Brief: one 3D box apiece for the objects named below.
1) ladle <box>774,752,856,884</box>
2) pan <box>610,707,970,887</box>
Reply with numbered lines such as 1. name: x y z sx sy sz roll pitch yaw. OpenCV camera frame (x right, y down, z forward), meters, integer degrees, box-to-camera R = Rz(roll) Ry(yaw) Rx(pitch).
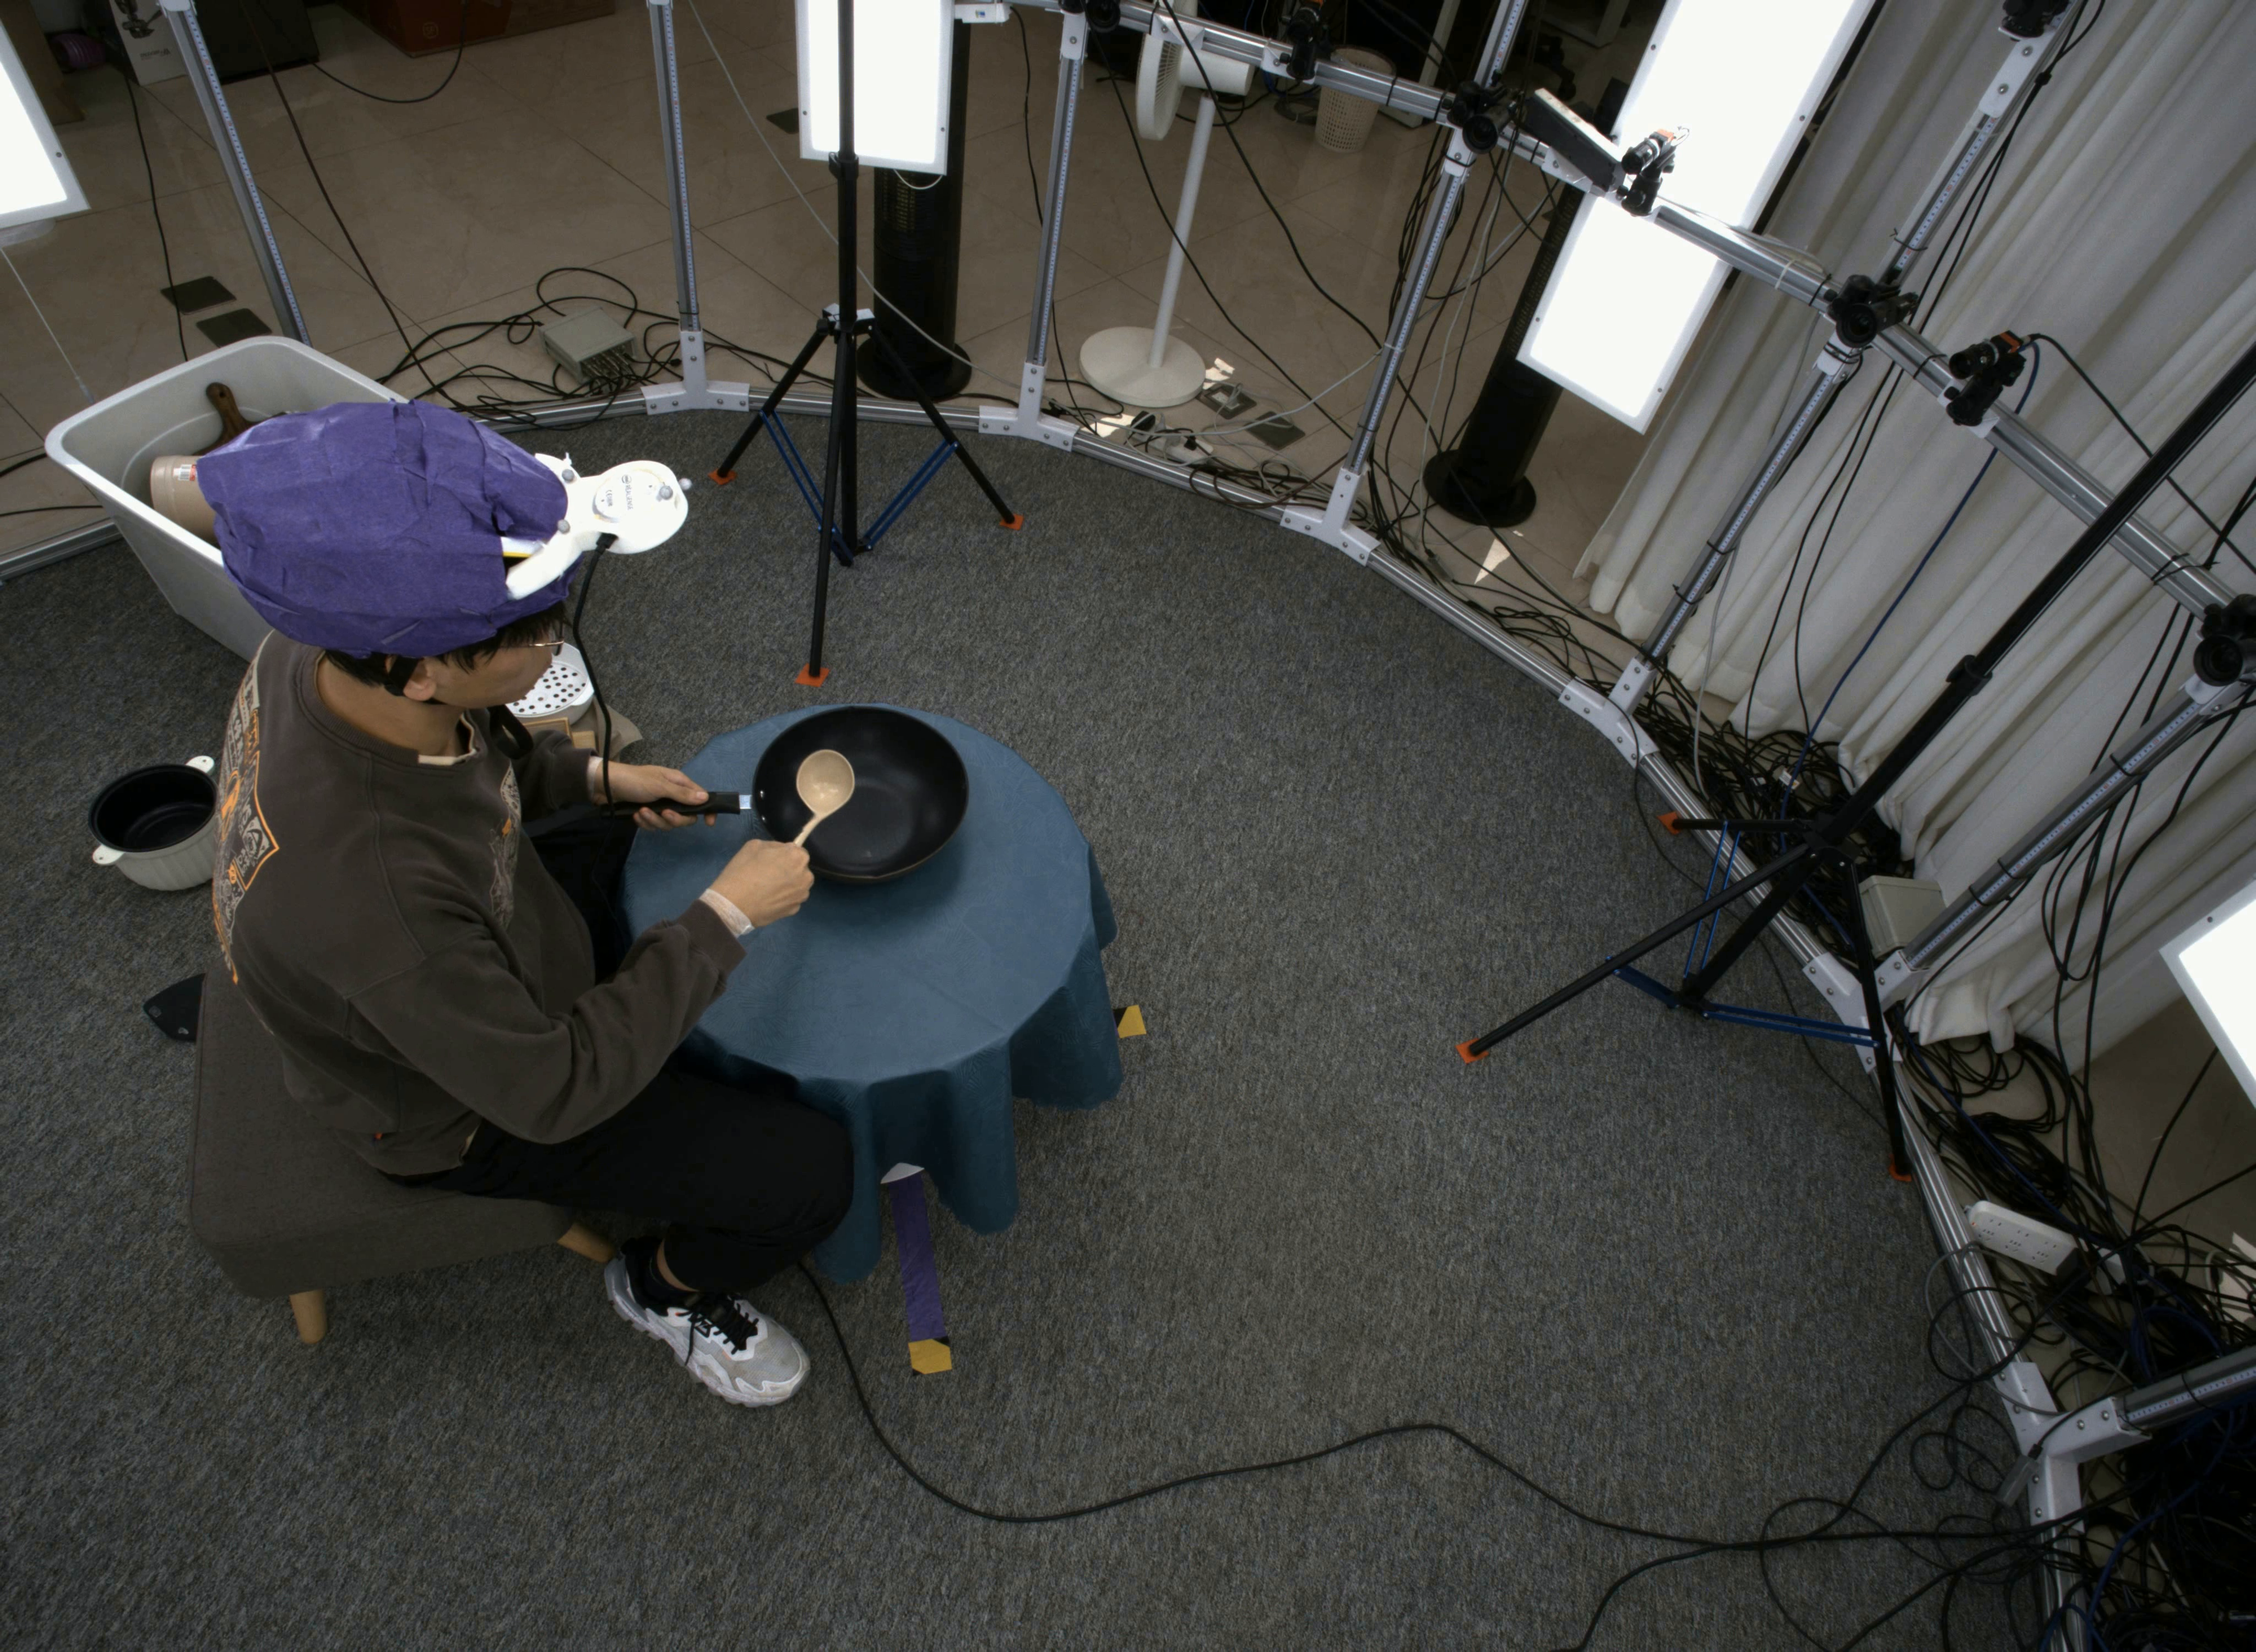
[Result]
1. ladle: -0.378 -0.018 1.529 0.071 0.075 0.250 7 22 -2
2. pan: -0.437 -0.017 1.696 0.464 0.089 0.281 -6 56 -15
